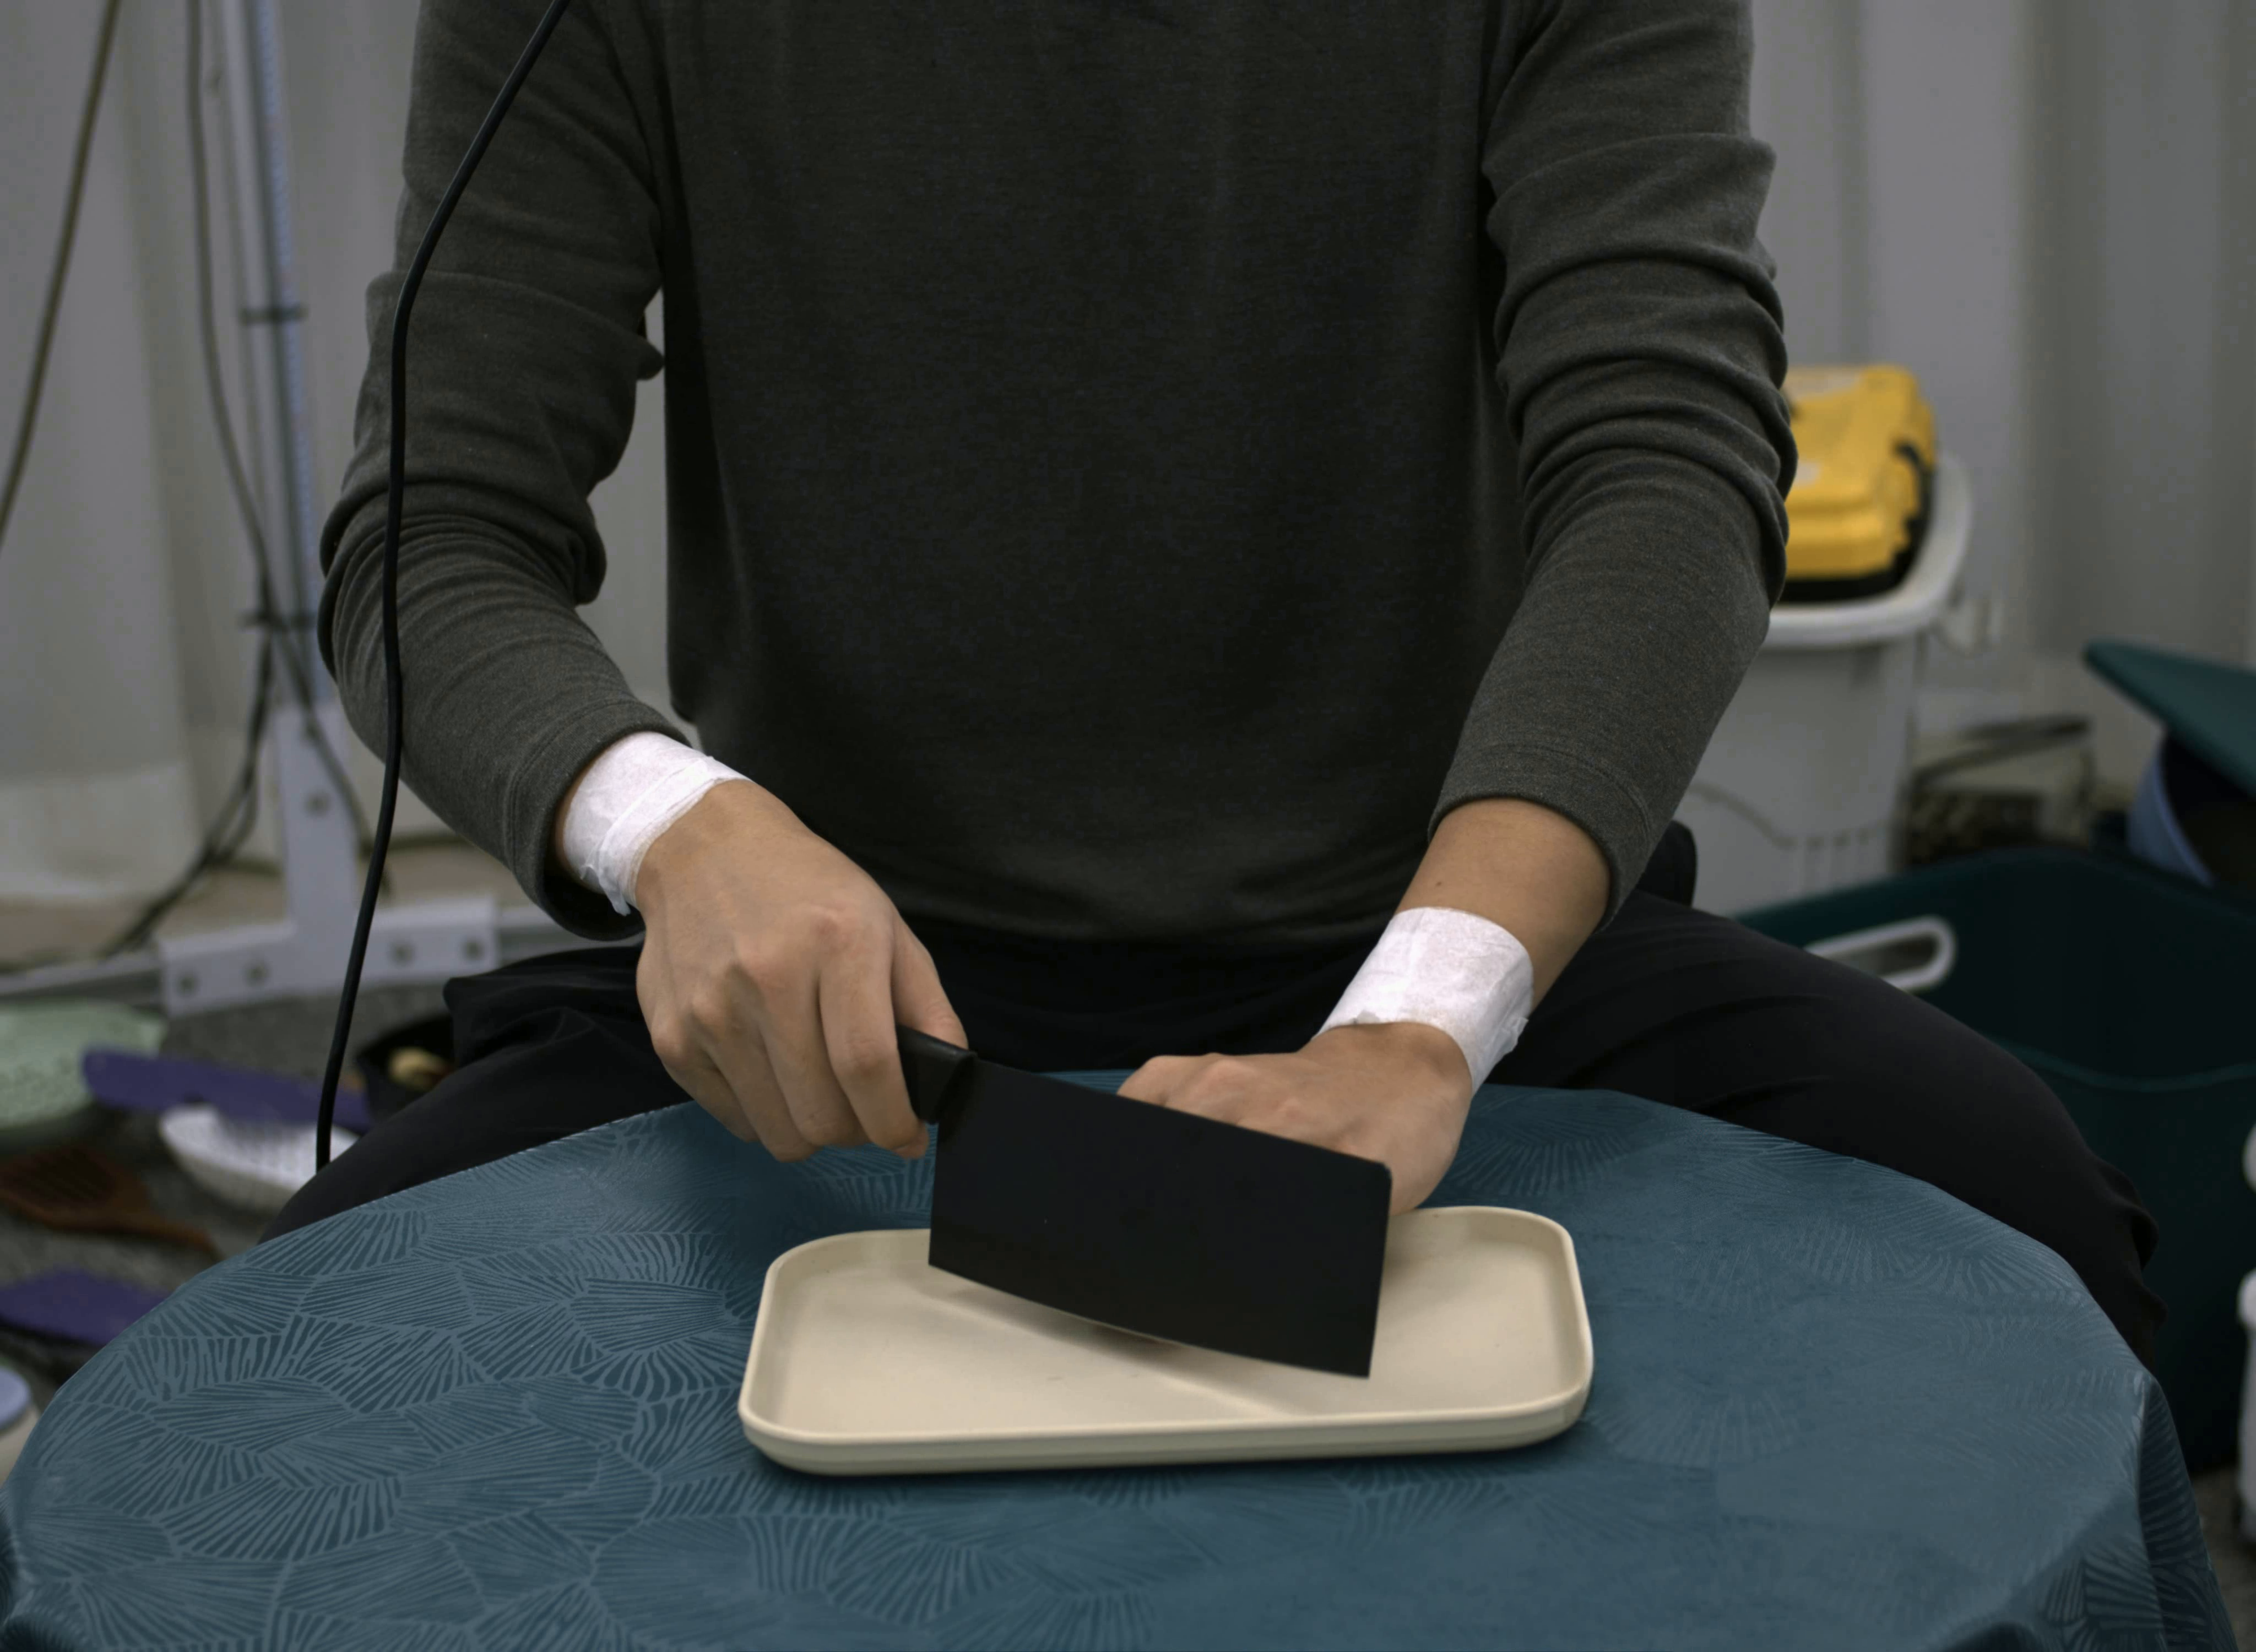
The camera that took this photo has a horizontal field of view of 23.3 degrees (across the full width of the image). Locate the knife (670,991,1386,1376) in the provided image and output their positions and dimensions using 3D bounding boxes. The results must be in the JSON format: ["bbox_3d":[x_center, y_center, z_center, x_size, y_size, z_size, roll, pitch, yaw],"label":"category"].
[{"bbox_3d":[-0.034,0.098,1.593,0.021,0.081,0.304,2,11,-44],"label":"knife"}]

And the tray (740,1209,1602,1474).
[{"bbox_3d":[0.012,0.147,1.557,0.239,0.017,0.172,-2,14,2],"label":"tray"}]
